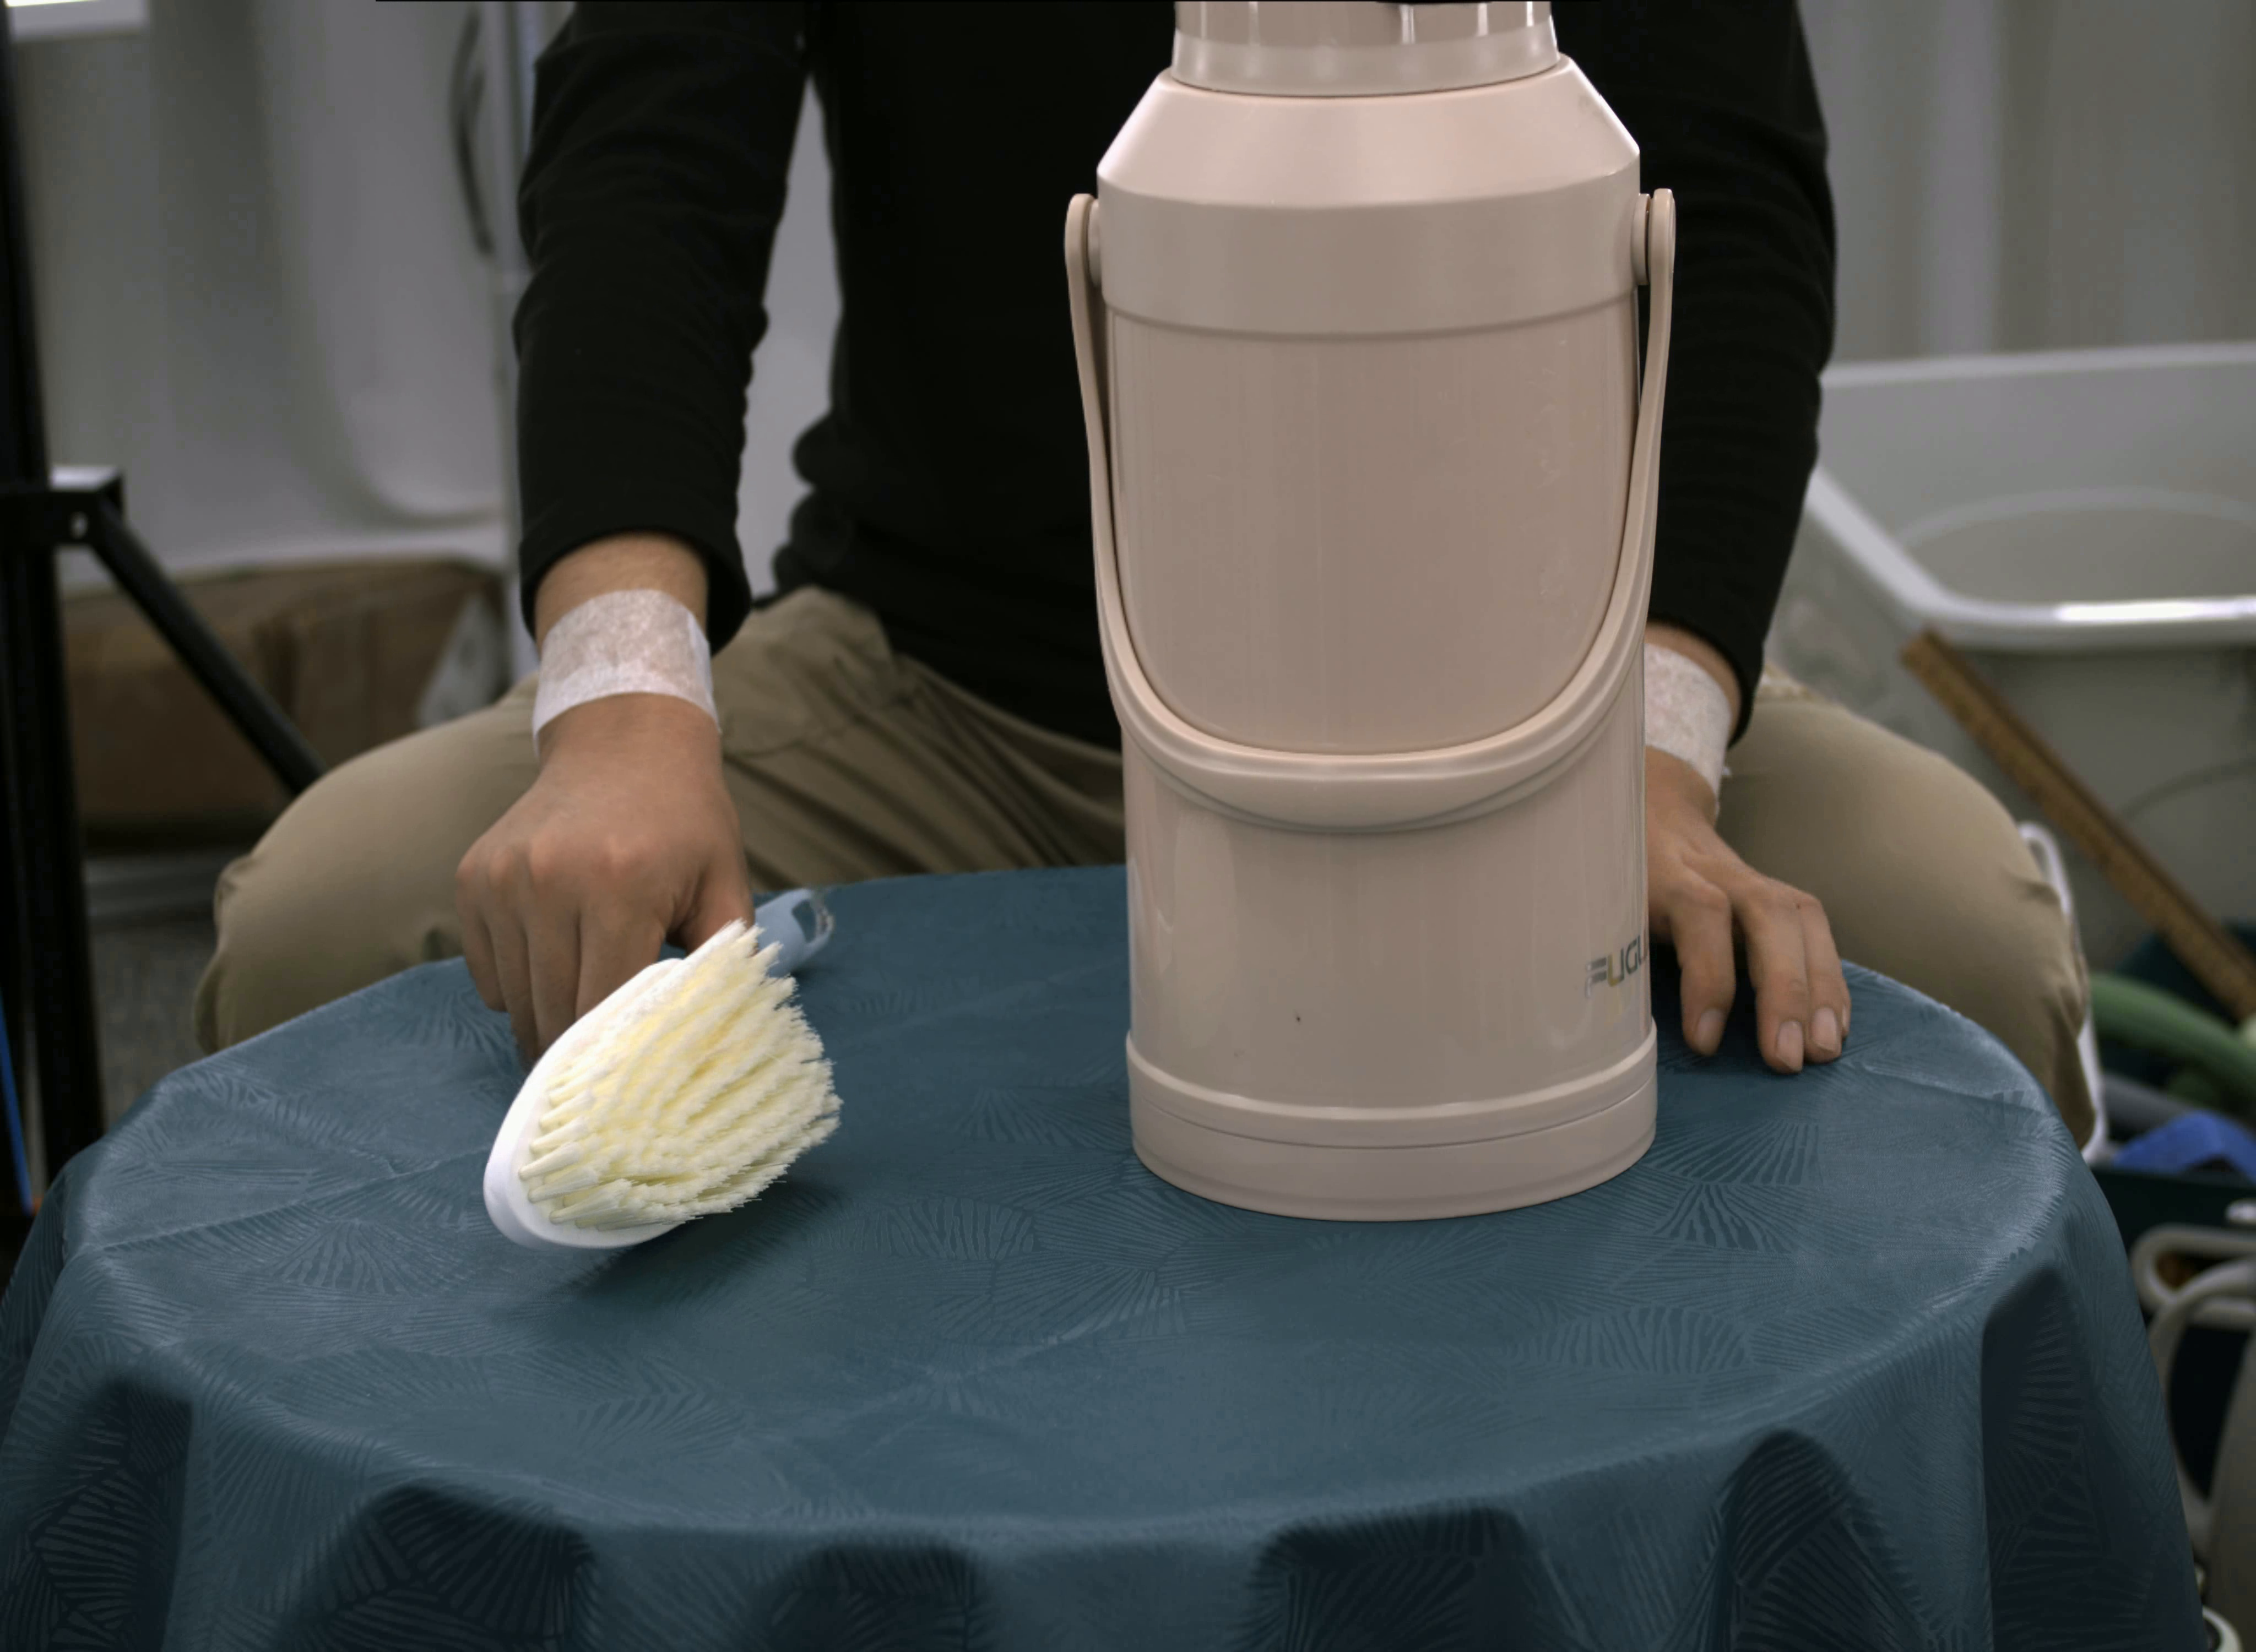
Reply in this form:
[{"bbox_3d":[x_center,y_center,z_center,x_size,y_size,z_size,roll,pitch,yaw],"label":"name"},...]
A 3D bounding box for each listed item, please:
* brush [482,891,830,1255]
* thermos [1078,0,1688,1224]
[{"bbox_3d":[-0.116,0.054,1.637,0.085,0.083,0.323,14,16,8],"label":"brush"},{"bbox_3d":[0.080,-0.102,1.560,0.176,0.406,0.206,-1,15,12],"label":"thermos"}]
